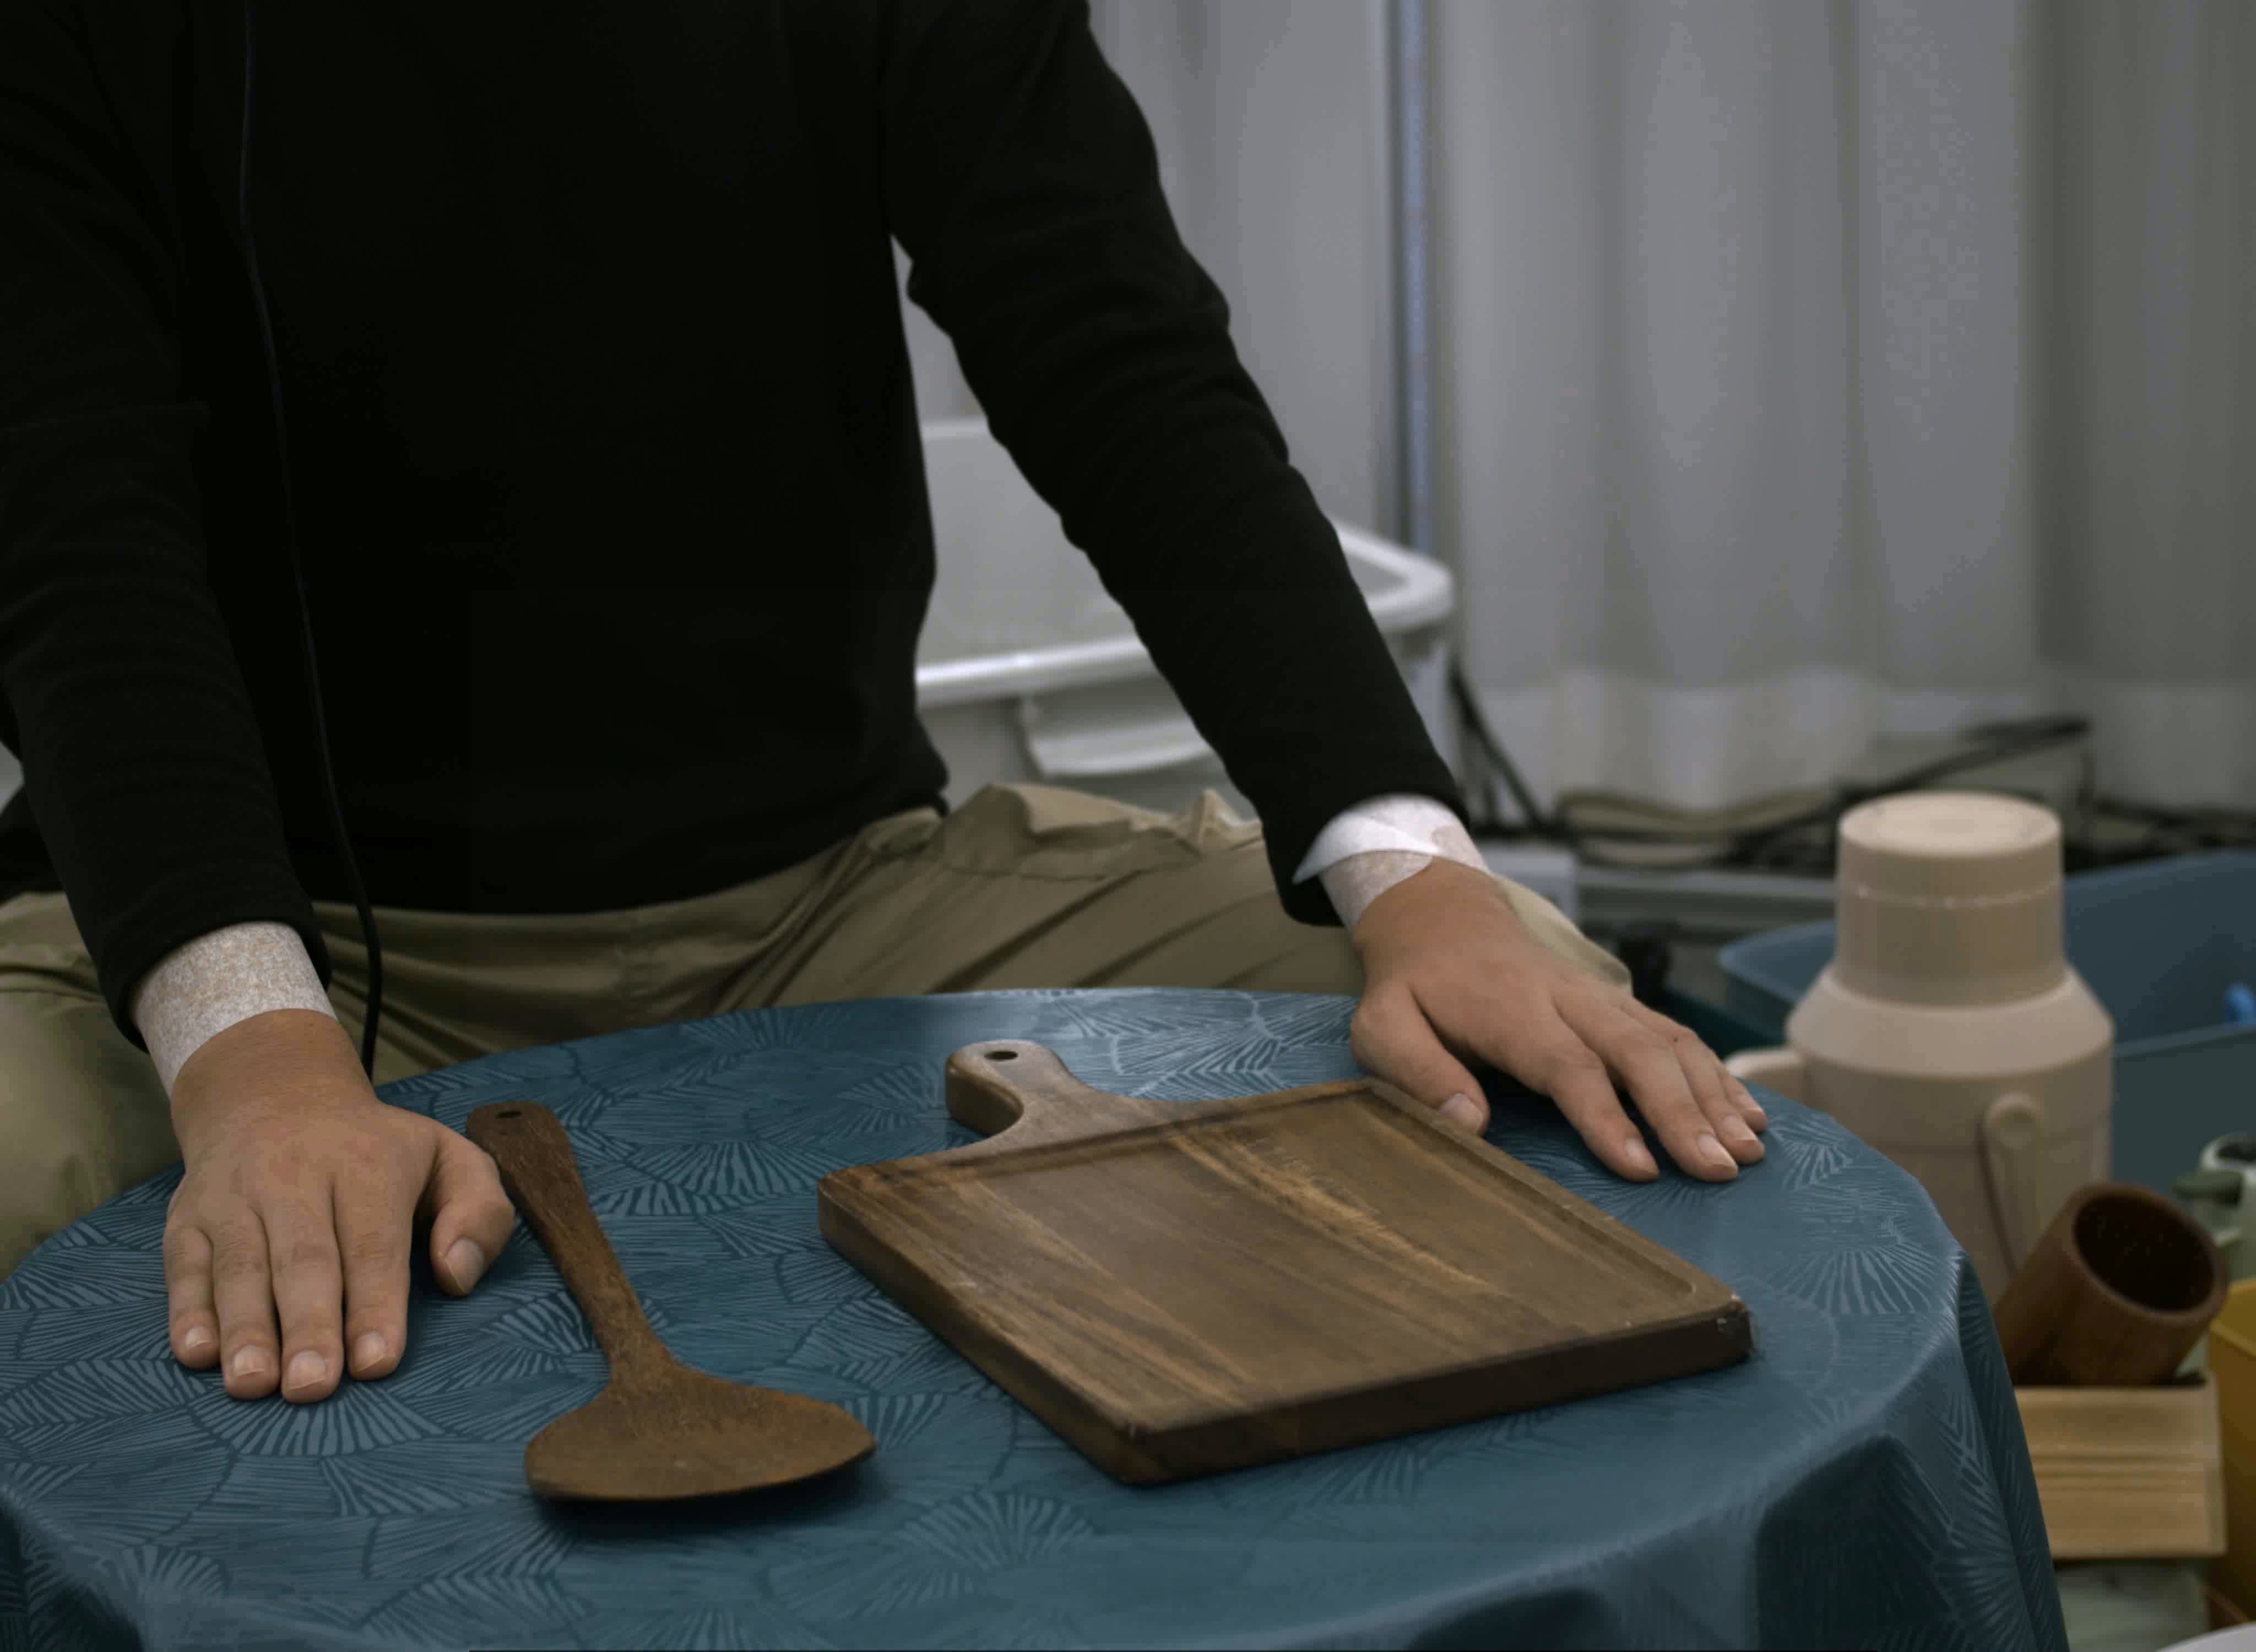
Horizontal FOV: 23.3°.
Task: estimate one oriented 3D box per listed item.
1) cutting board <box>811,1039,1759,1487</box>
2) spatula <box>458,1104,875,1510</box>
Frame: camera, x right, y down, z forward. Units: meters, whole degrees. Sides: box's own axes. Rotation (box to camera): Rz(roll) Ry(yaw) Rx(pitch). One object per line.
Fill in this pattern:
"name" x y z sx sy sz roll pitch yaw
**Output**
"cutting board" 0.021 0.118 1.656 0.200 0.023 0.355 -9 16 -22
"spatula" -0.159 0.137 1.634 0.095 0.016 0.389 -6 15 -14
